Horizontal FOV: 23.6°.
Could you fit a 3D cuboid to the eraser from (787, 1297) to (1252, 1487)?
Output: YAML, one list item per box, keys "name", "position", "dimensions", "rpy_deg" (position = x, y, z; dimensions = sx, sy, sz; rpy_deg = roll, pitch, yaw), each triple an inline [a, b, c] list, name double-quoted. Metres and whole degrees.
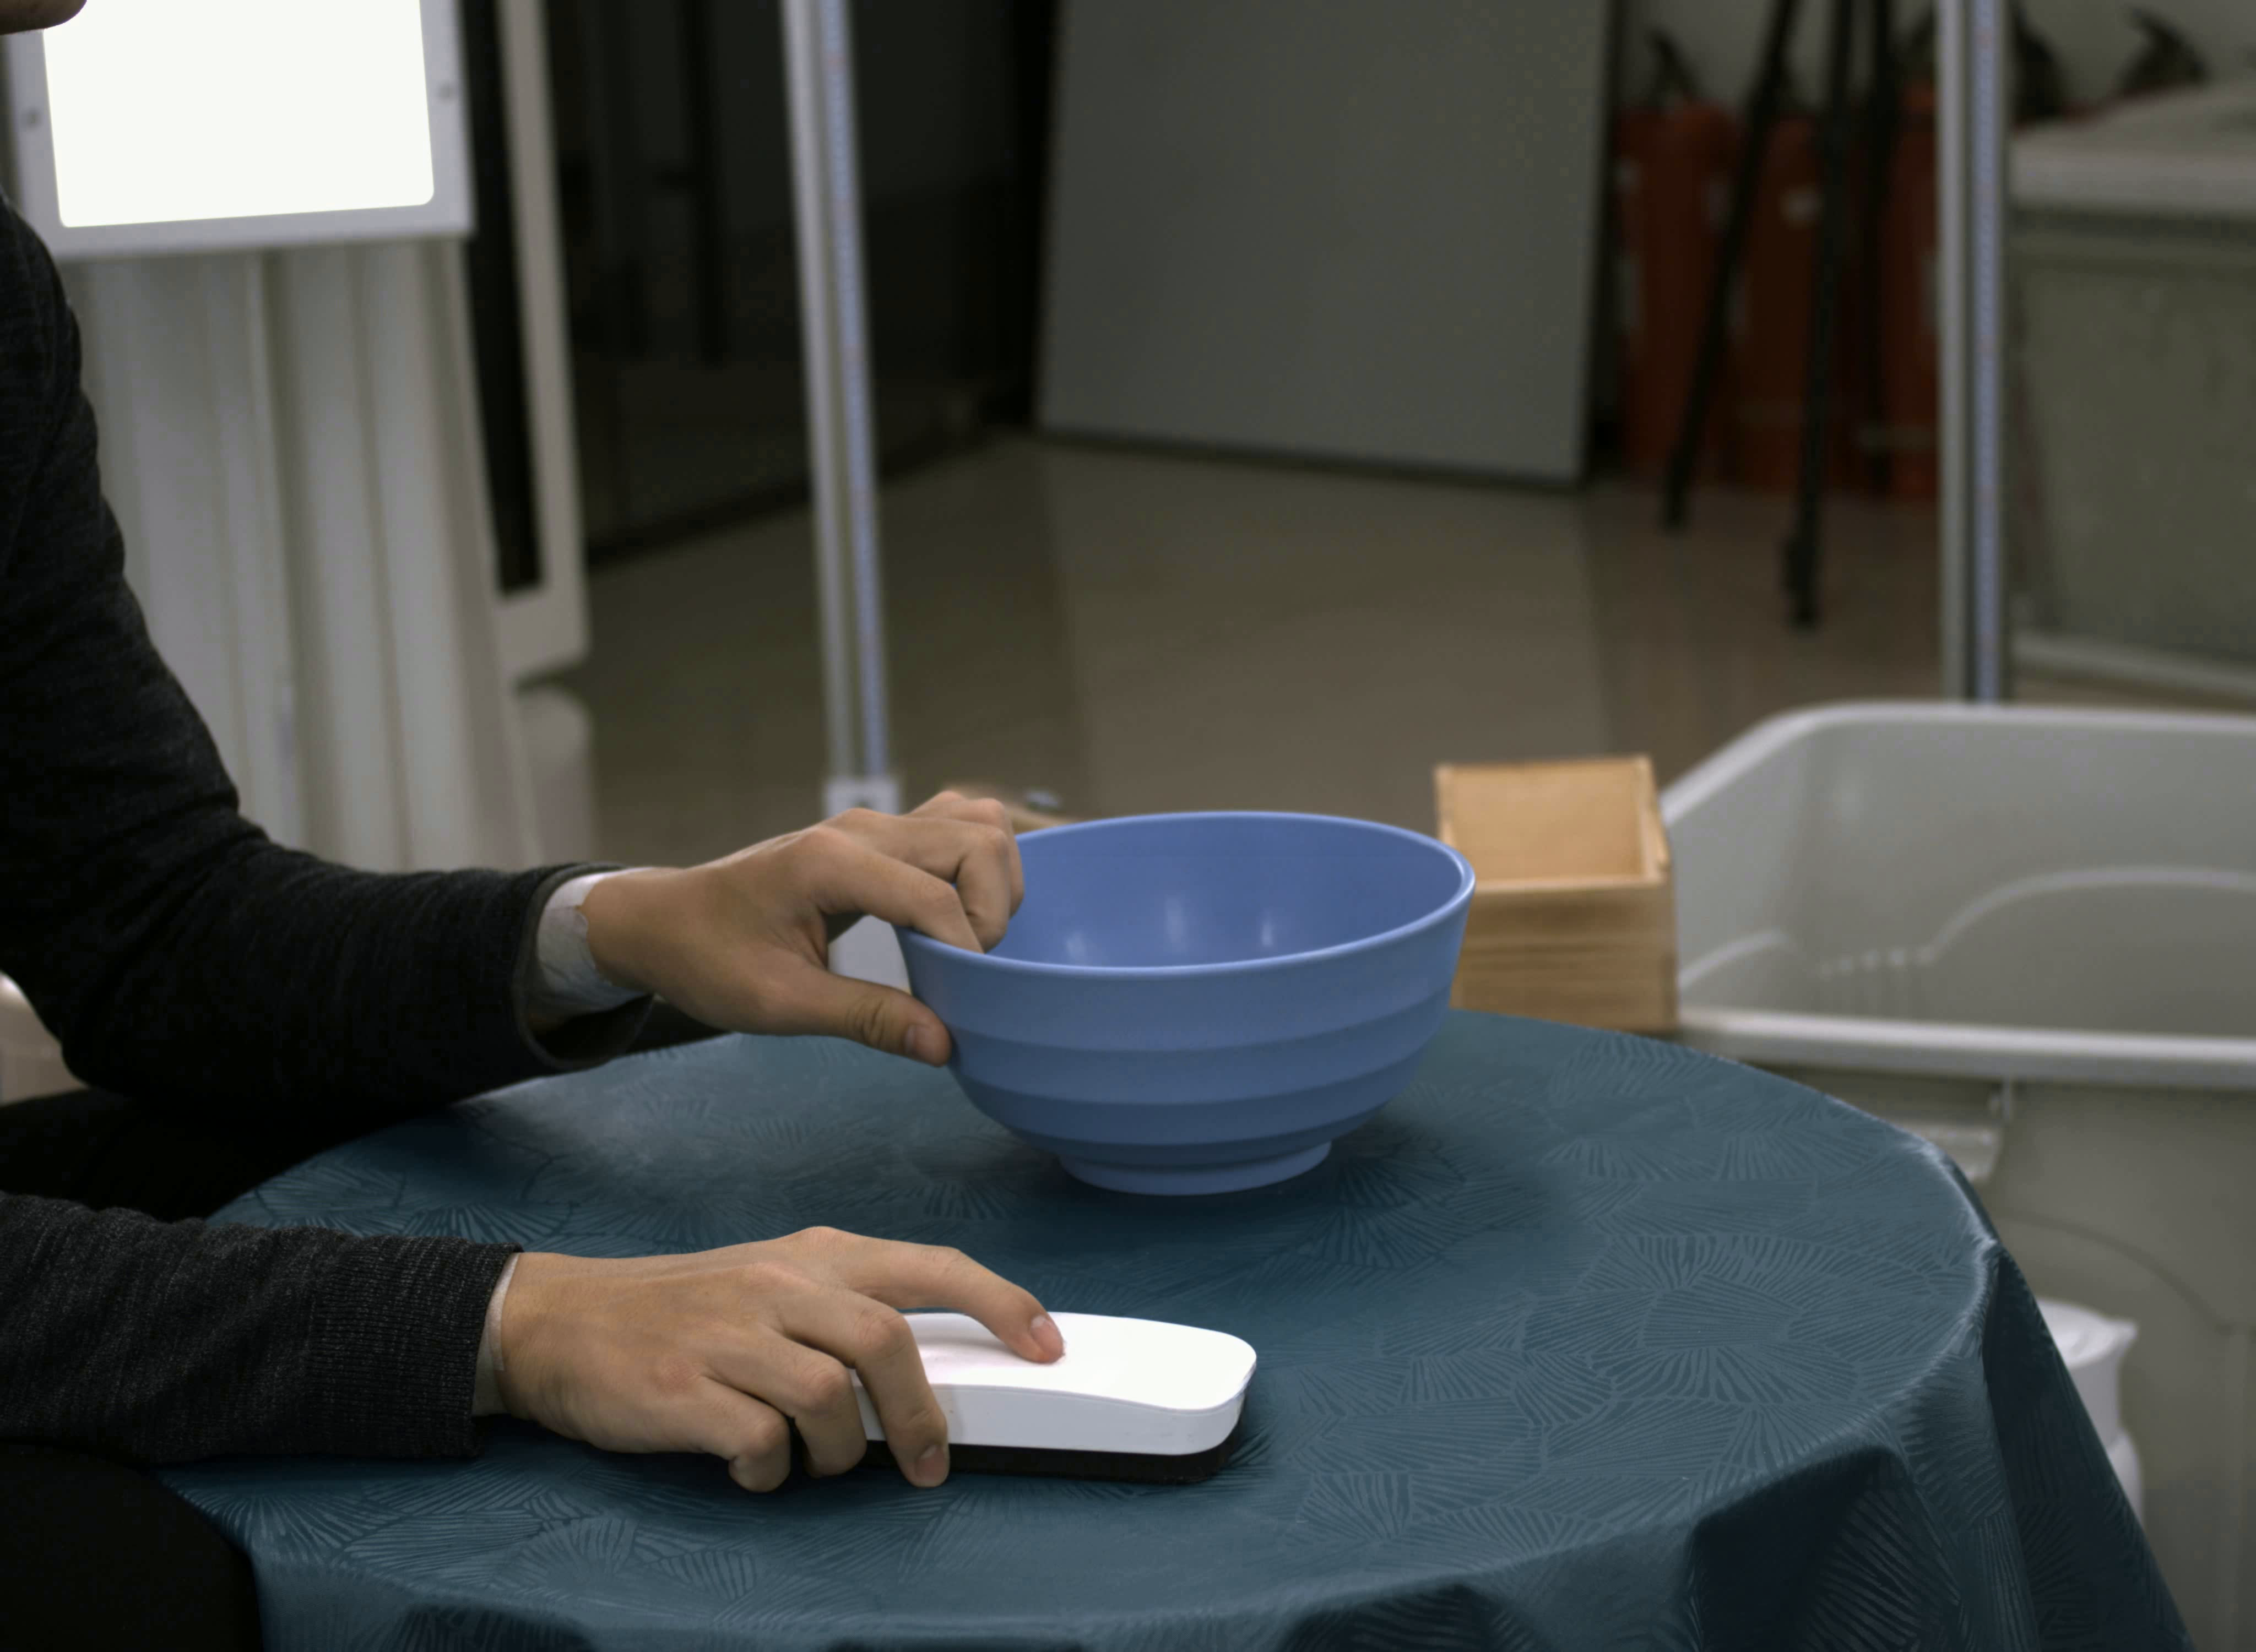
- name: "eraser"
  position: [-0.030, 0.162, 1.546]
  dimensions: [0.131, 0.035, 0.063]
  rpy_deg: [2, 14, 18]

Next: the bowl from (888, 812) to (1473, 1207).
- name: "bowl"
  position: [0.020, 0.067, 1.792]
  dimensions: [0.194, 0.096, 0.197]
  rpy_deg: [-4, 15, 0]
